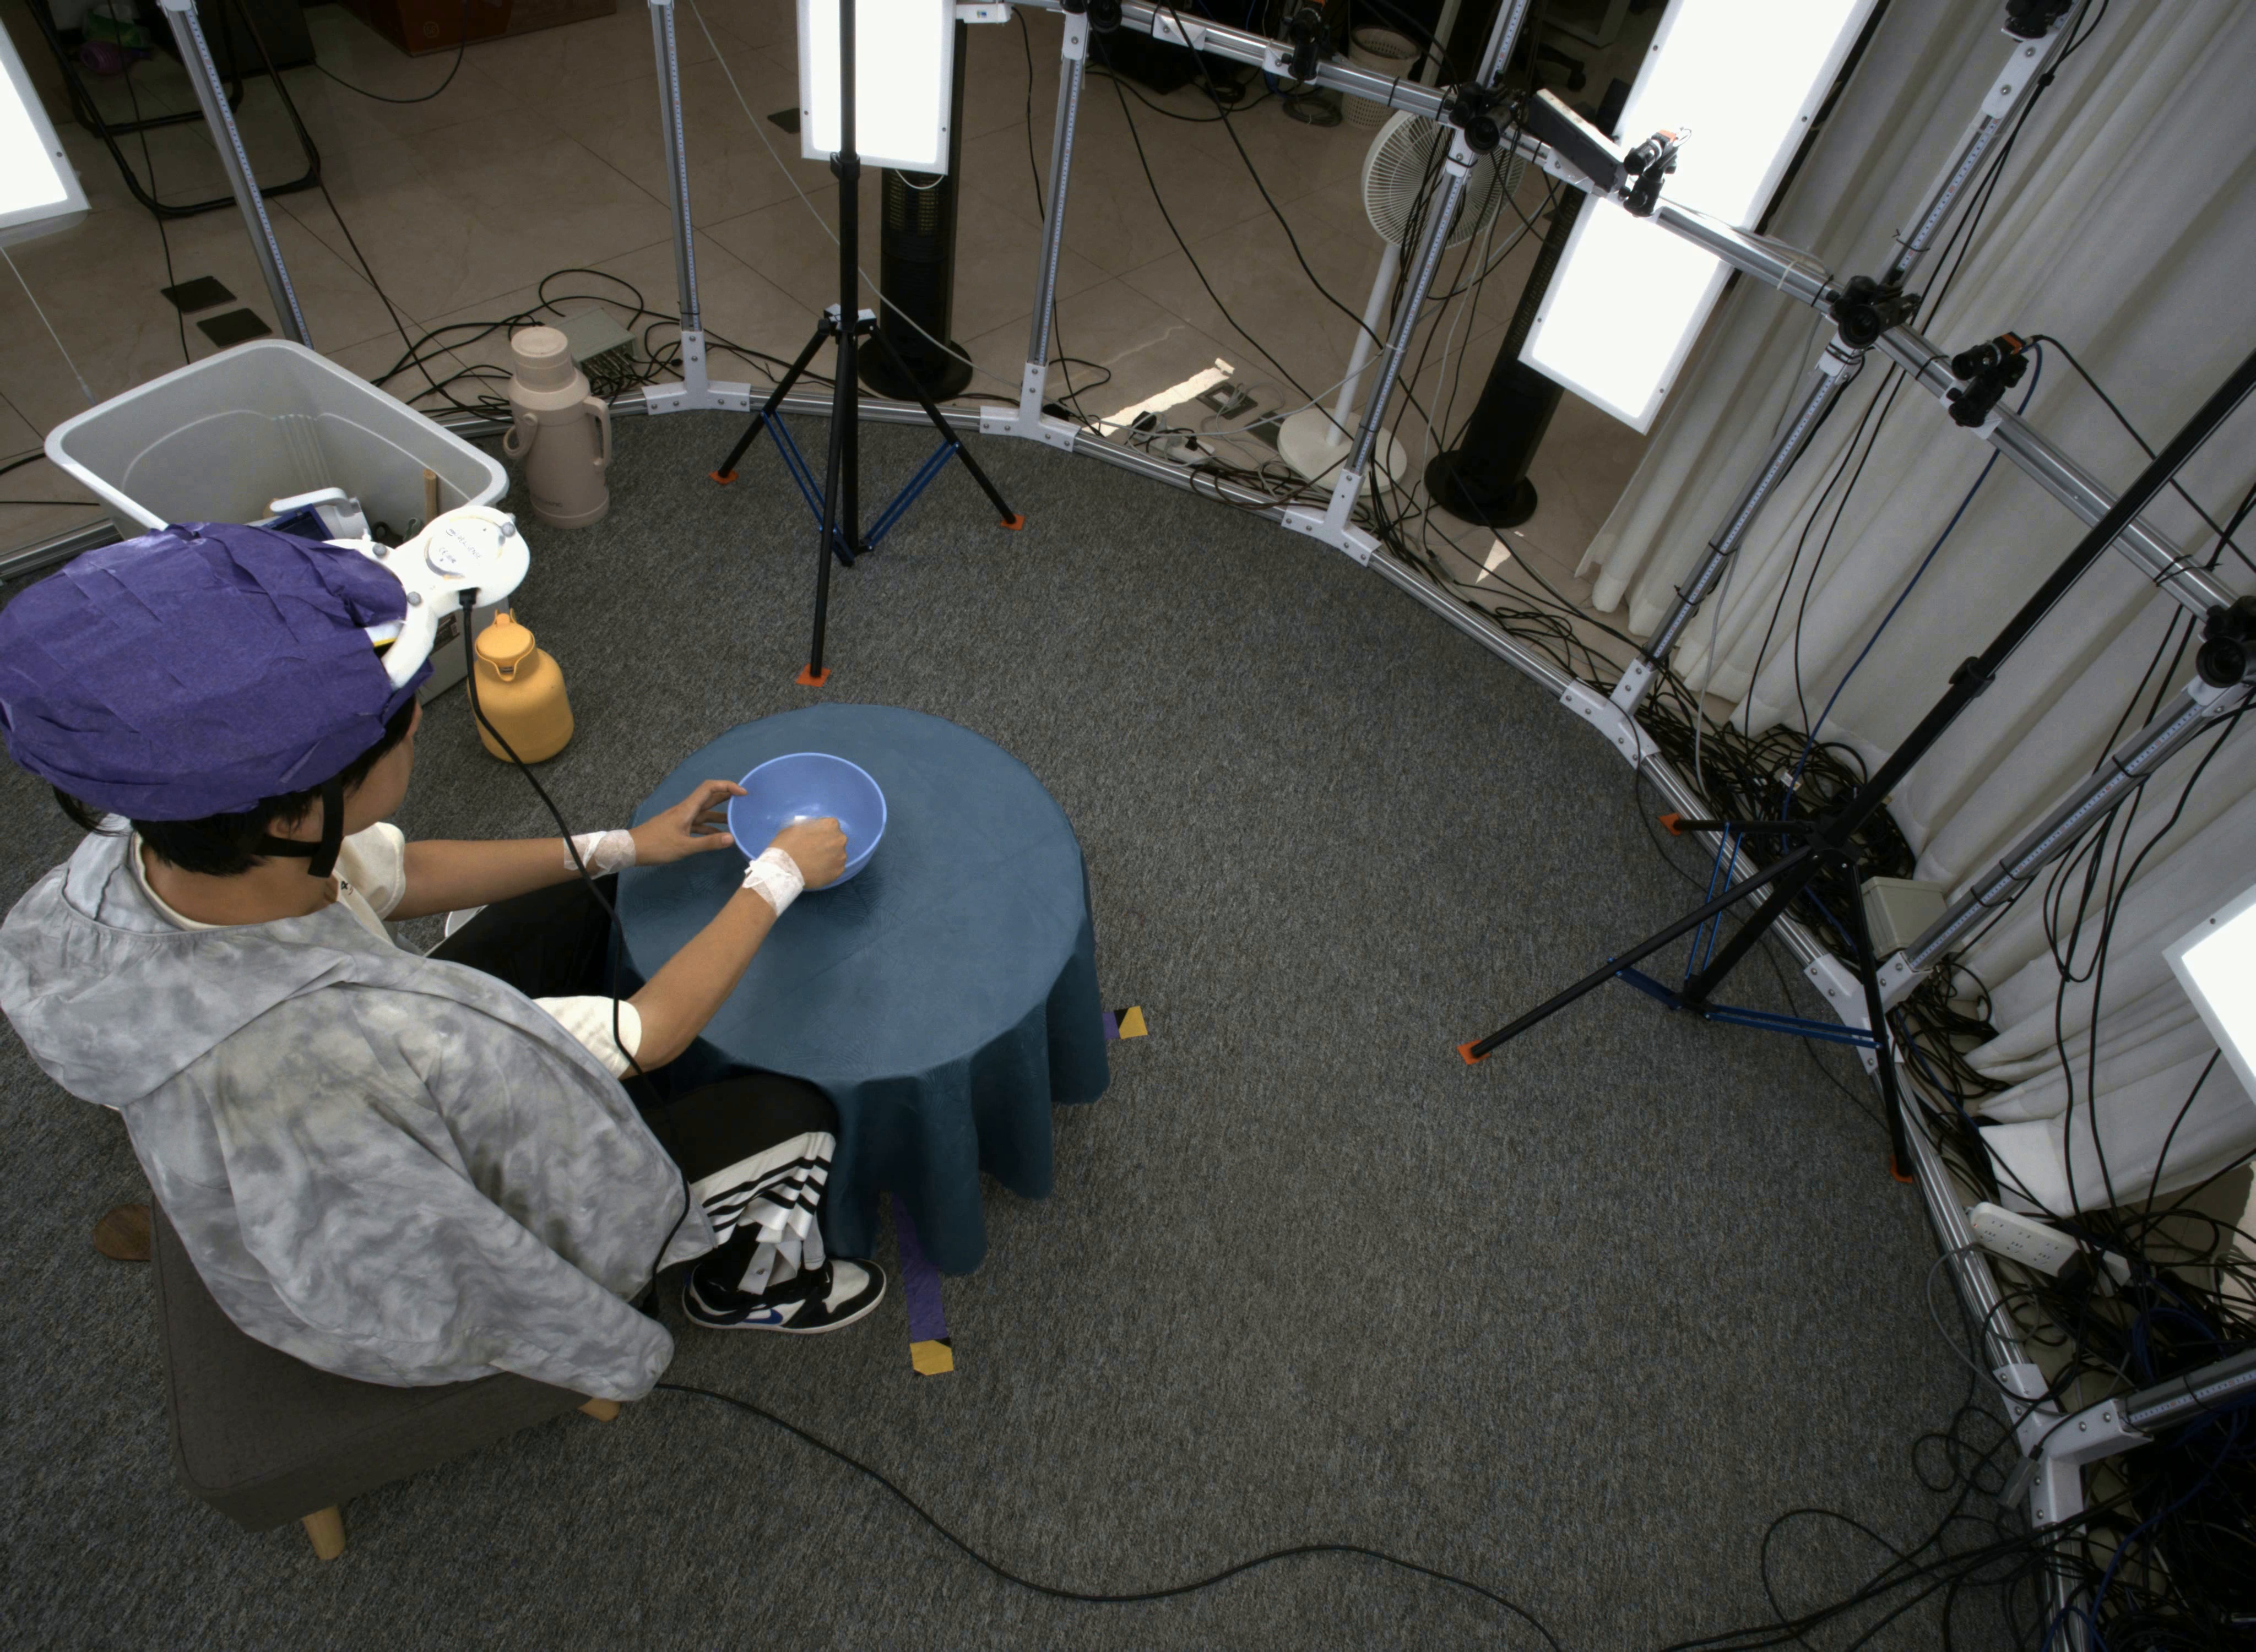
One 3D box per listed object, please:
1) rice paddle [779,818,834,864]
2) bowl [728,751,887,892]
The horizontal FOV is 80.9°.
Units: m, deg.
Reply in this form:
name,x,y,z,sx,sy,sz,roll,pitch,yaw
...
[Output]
name,x,y,z,sx,sy,sz,roll,pitch,yaw
rice paddle,-0.397,0.008,1.607,0.069,0.030,0.200,6,10,-16
bowl,-0.409,0.009,1.661,0.196,0.097,0.193,8,52,-9
